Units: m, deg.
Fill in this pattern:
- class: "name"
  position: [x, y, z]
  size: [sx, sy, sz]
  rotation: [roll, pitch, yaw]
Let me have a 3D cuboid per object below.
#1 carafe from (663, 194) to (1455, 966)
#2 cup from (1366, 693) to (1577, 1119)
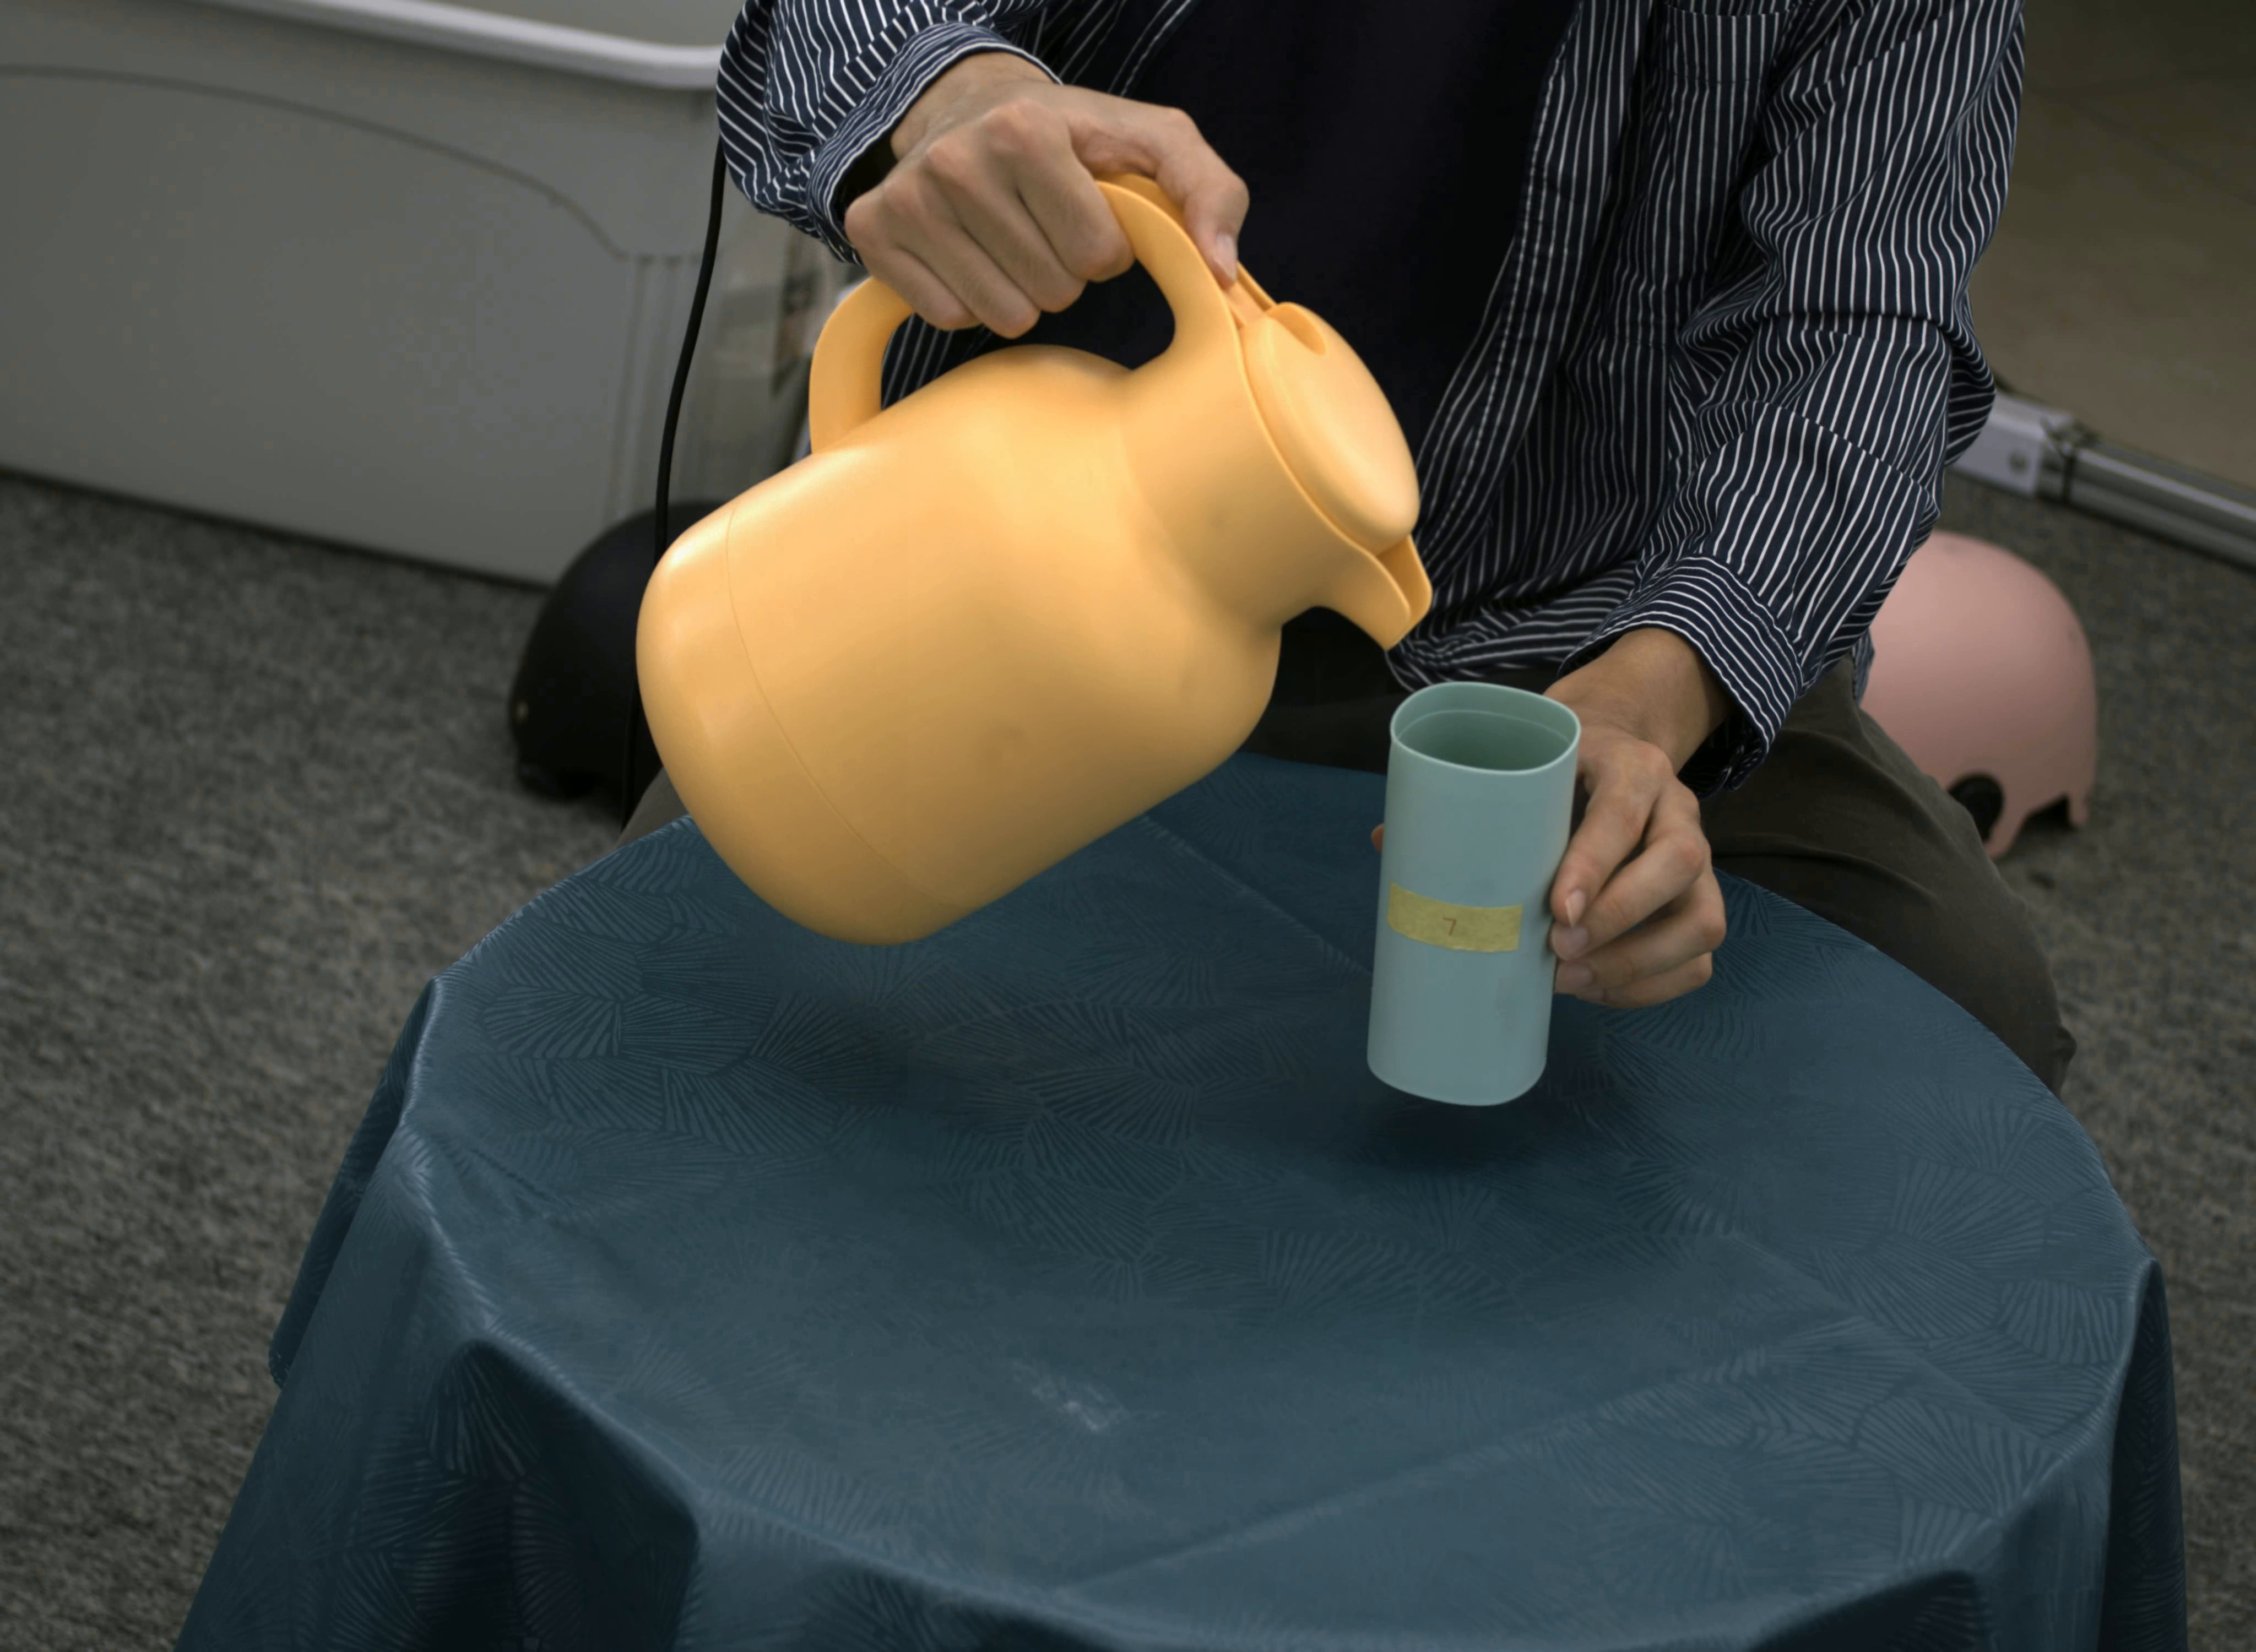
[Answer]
- class: "carafe"
  position: [-0.030, -0.088, 1.792]
  size: [0.260, 0.202, 0.163]
  rotation: [-29, 5, 22]
- class: "cup"
  position: [0.116, 0.027, 1.810]
  size: [0.066, 0.132, 0.067]
  rotation: [2, 28, -1]
